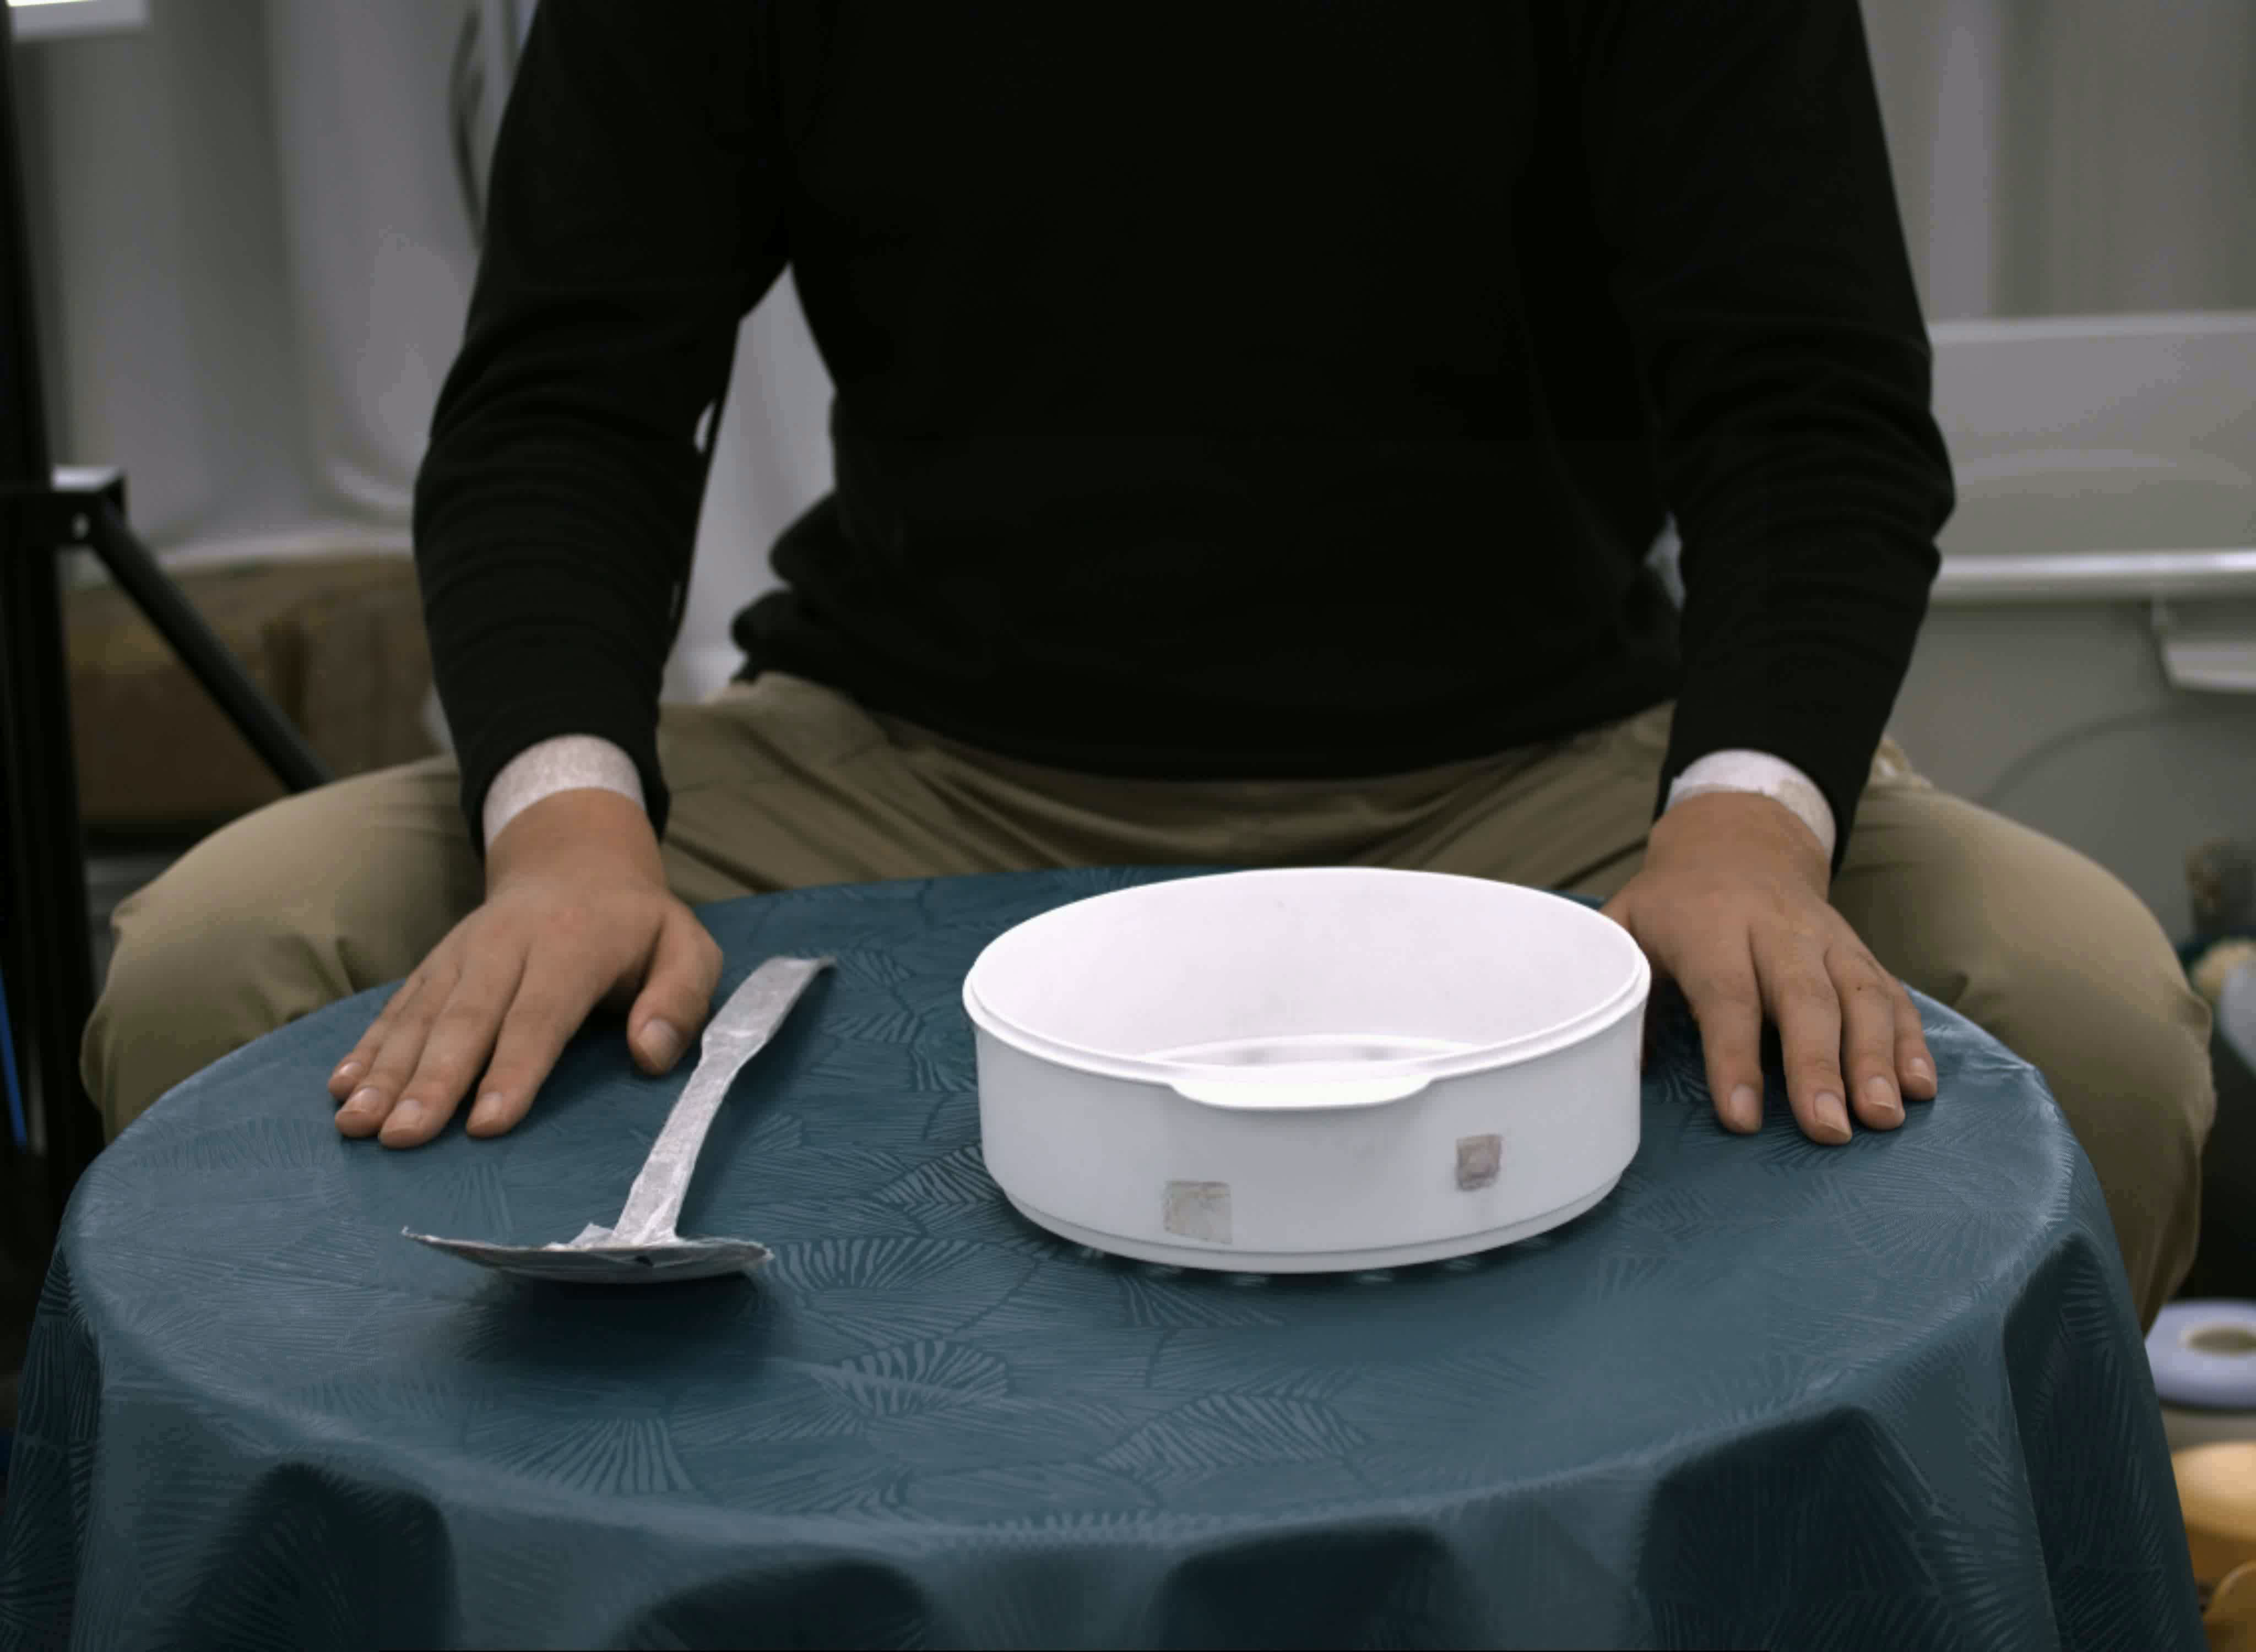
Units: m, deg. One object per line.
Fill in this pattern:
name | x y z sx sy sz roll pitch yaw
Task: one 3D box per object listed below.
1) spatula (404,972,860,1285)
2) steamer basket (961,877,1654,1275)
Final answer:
spatula | -0.126 0.082 1.603 0.099 0.045 0.364 -2 16 9
steamer basket | 0.052 0.072 1.547 0.202 0.069 0.230 0 15 4
